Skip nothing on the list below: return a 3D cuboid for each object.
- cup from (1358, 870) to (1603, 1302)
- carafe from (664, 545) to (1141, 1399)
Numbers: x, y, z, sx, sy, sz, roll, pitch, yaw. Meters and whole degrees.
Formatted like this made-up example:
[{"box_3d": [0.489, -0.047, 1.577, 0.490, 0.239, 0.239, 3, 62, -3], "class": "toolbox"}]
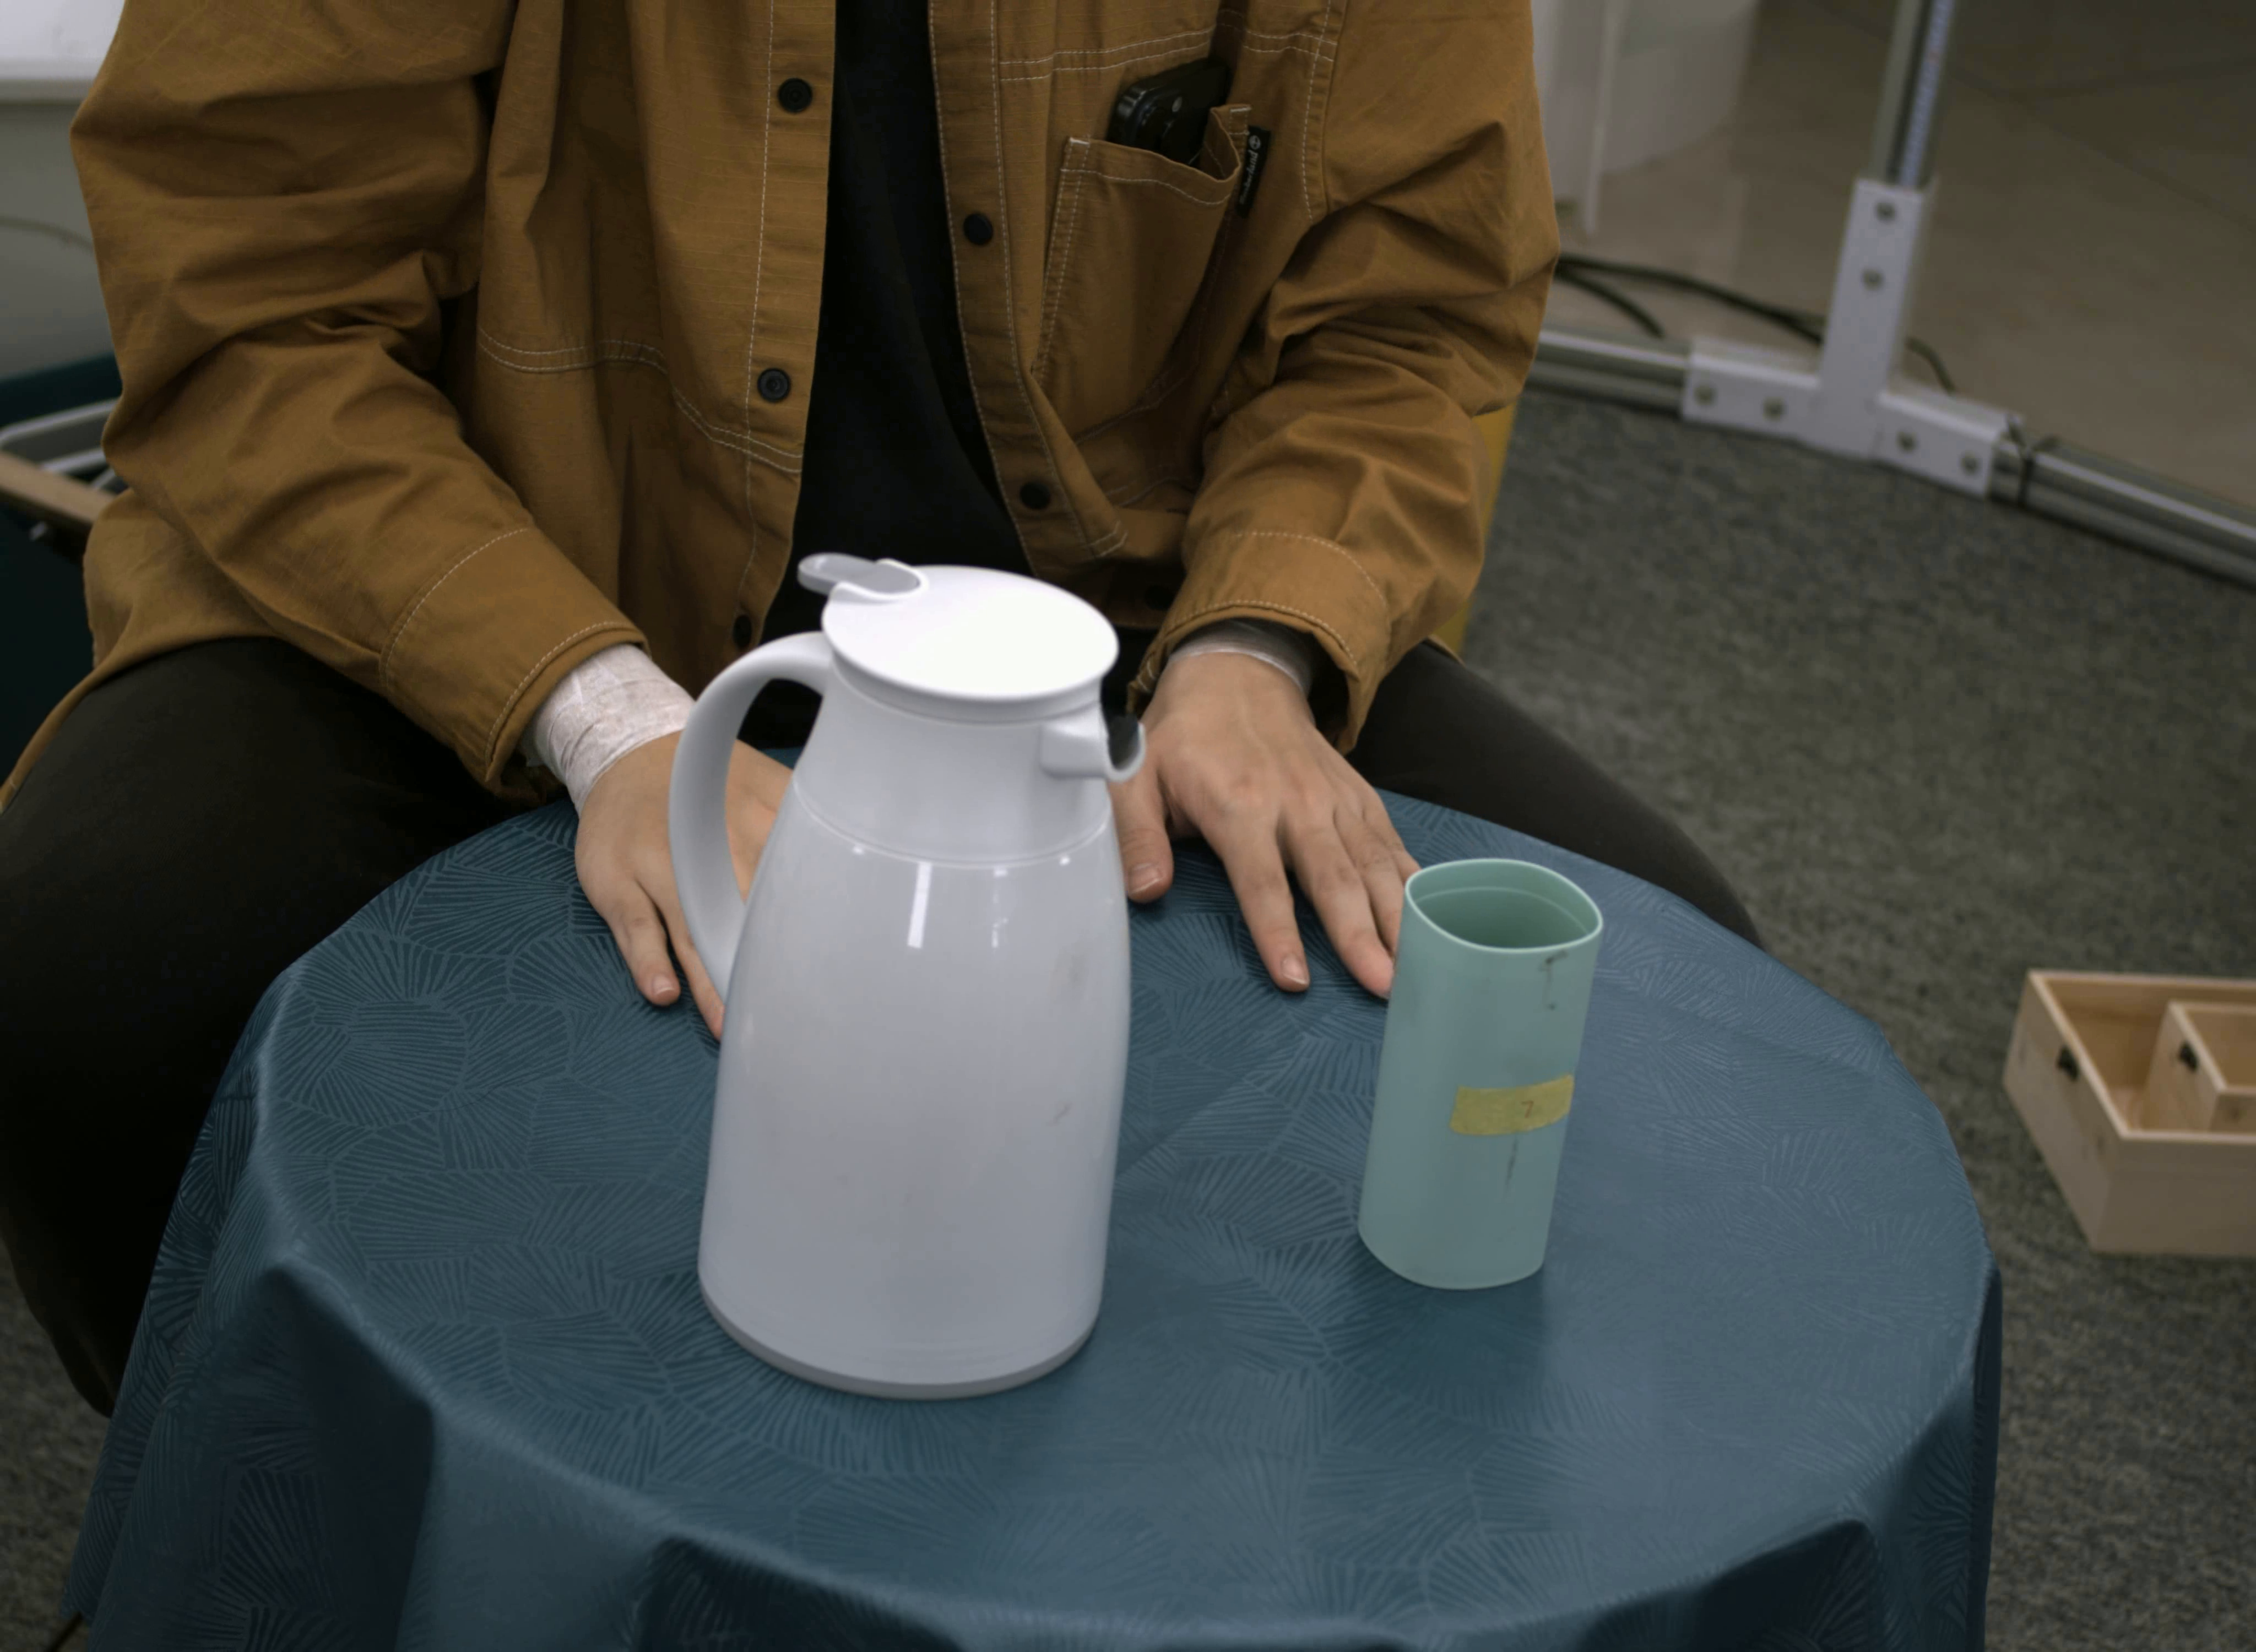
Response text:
[{"box_3d": [0.116, 0.086, 1.769, 0.066, 0.132, 0.067, 6, 26, -3], "class": "cup"}, {"box_3d": [-0.078, 0.036, 1.687, 0.168, 0.248, 0.132, 21, 30, 28], "class": "carafe"}]
